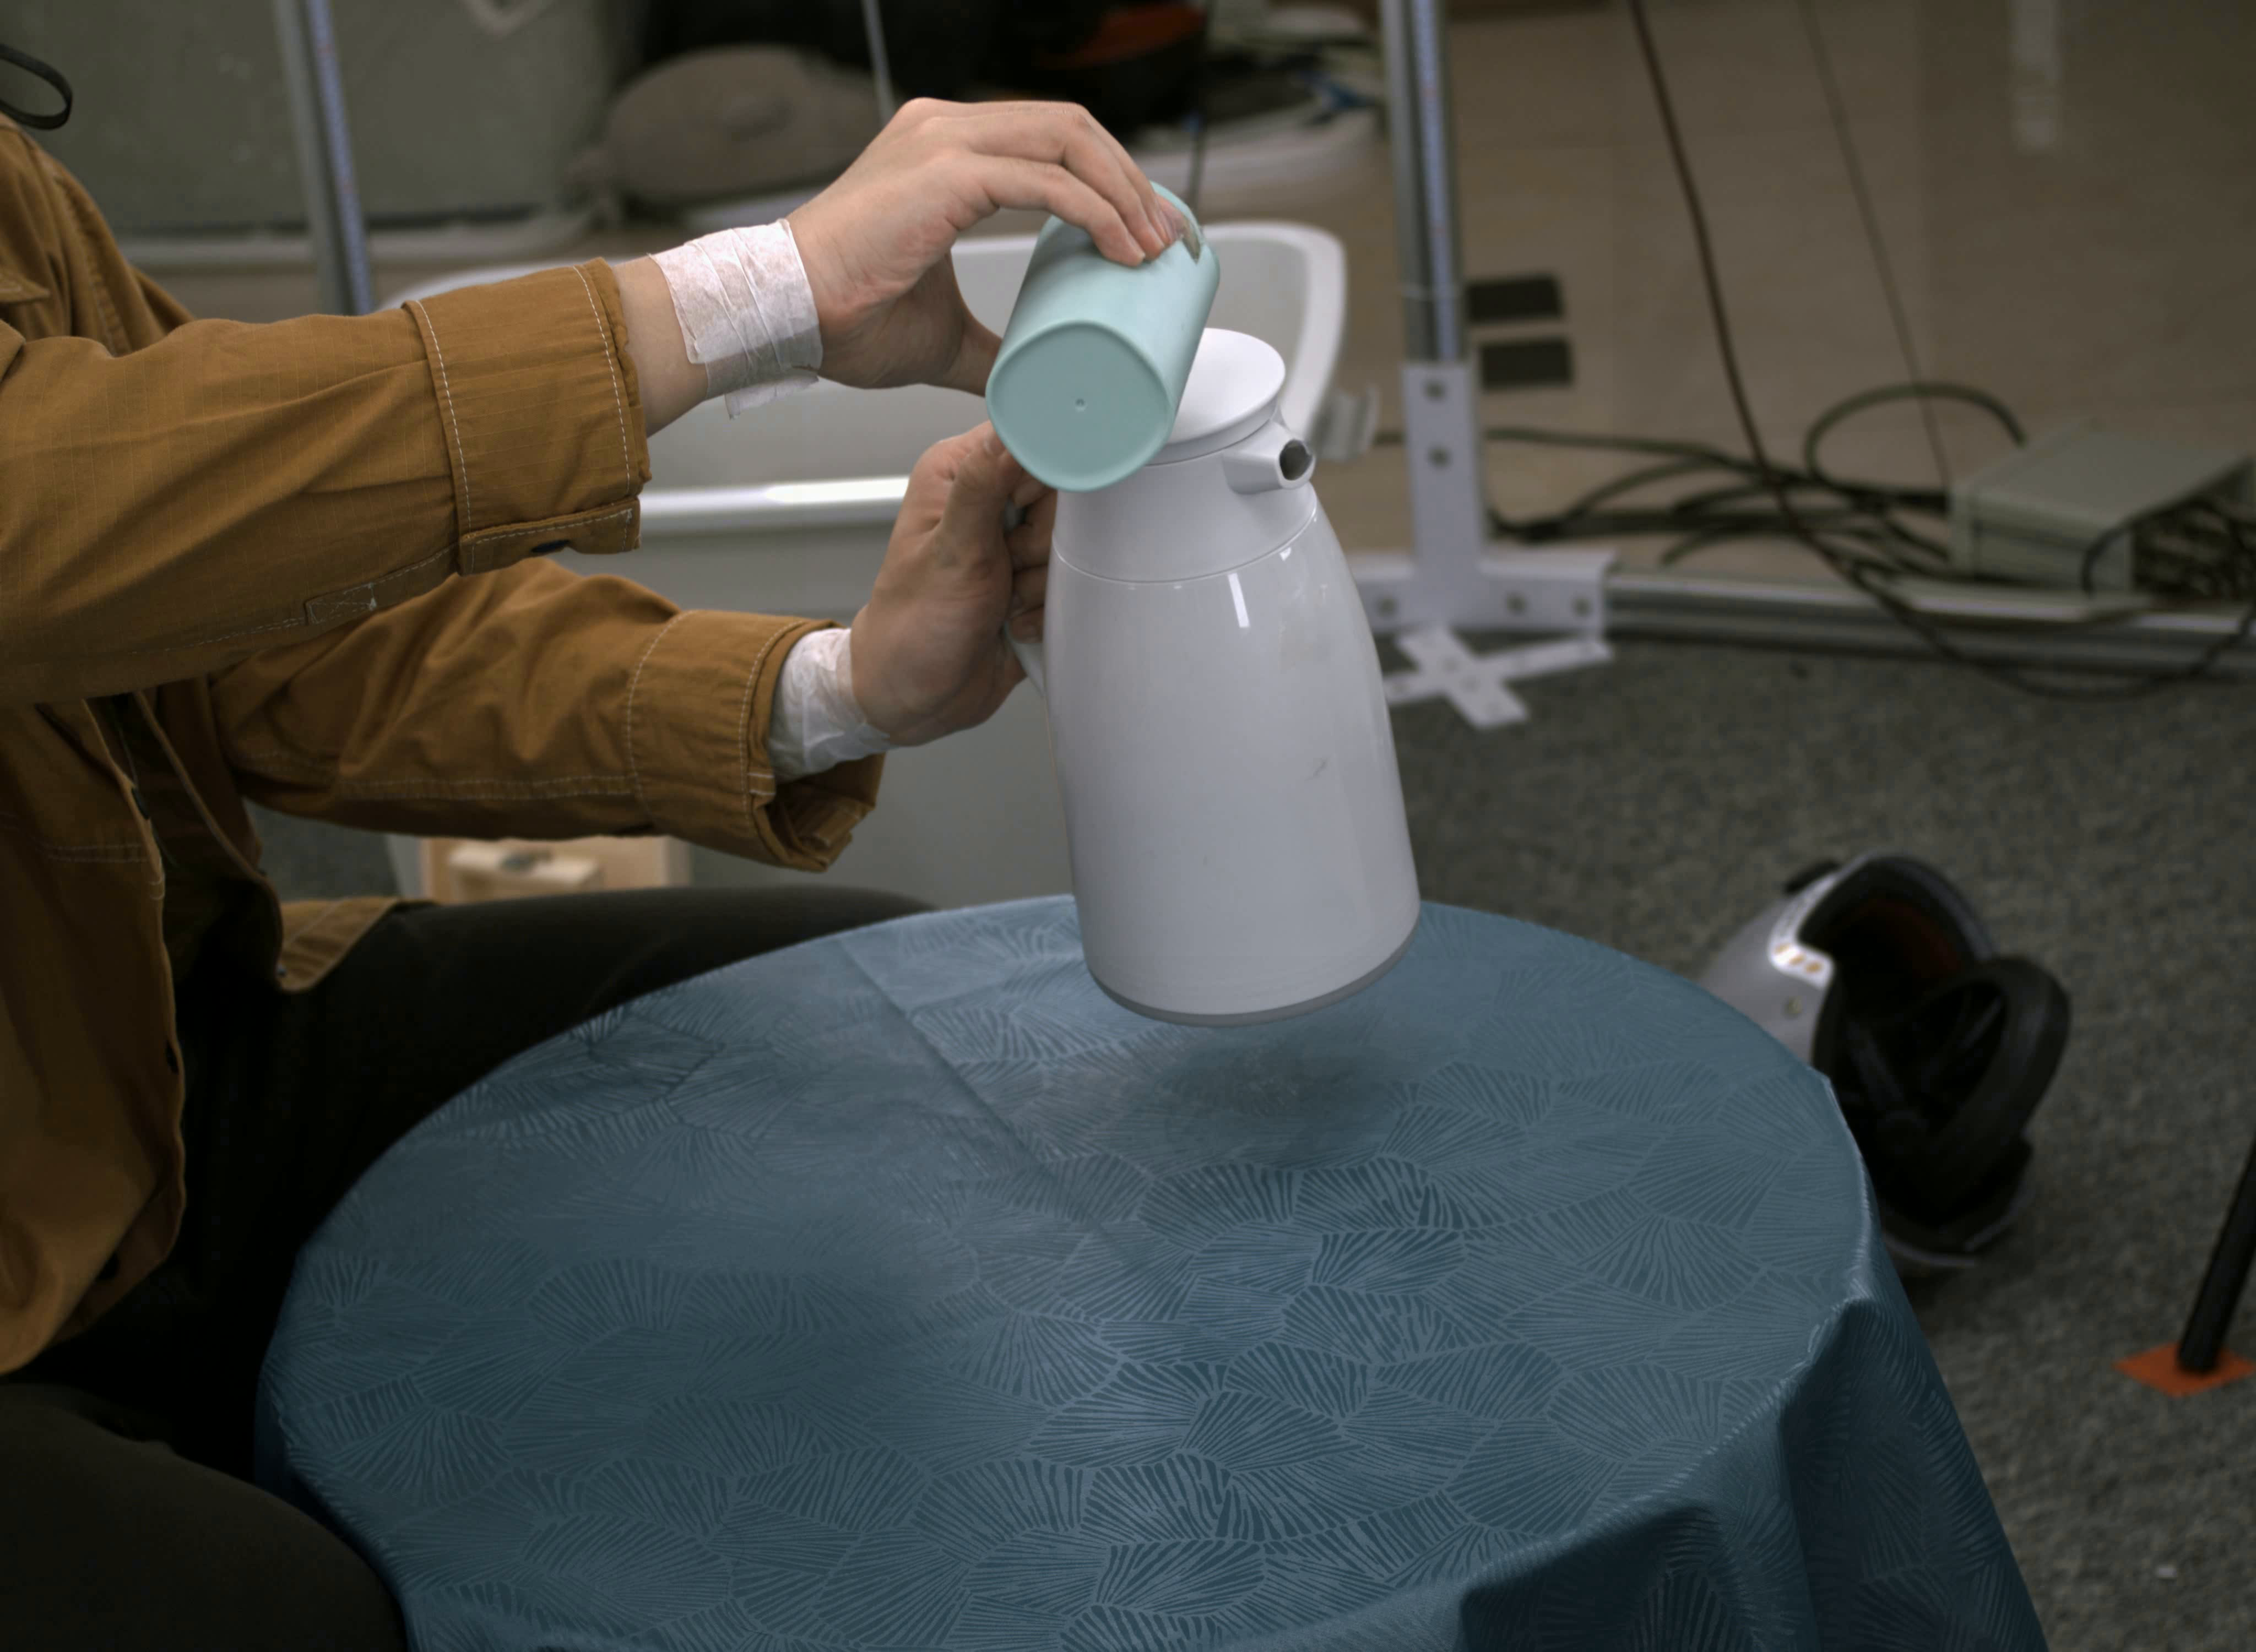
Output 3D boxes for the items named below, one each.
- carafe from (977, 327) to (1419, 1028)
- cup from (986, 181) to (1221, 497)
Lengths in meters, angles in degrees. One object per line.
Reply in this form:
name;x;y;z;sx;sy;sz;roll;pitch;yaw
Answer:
carafe;0.015;-0.066;2.138;0.166;0.253;0.131;18;41;38
cup;-0.009;-0.171;1.957;0.066;0.068;0.130;-2;27;9
